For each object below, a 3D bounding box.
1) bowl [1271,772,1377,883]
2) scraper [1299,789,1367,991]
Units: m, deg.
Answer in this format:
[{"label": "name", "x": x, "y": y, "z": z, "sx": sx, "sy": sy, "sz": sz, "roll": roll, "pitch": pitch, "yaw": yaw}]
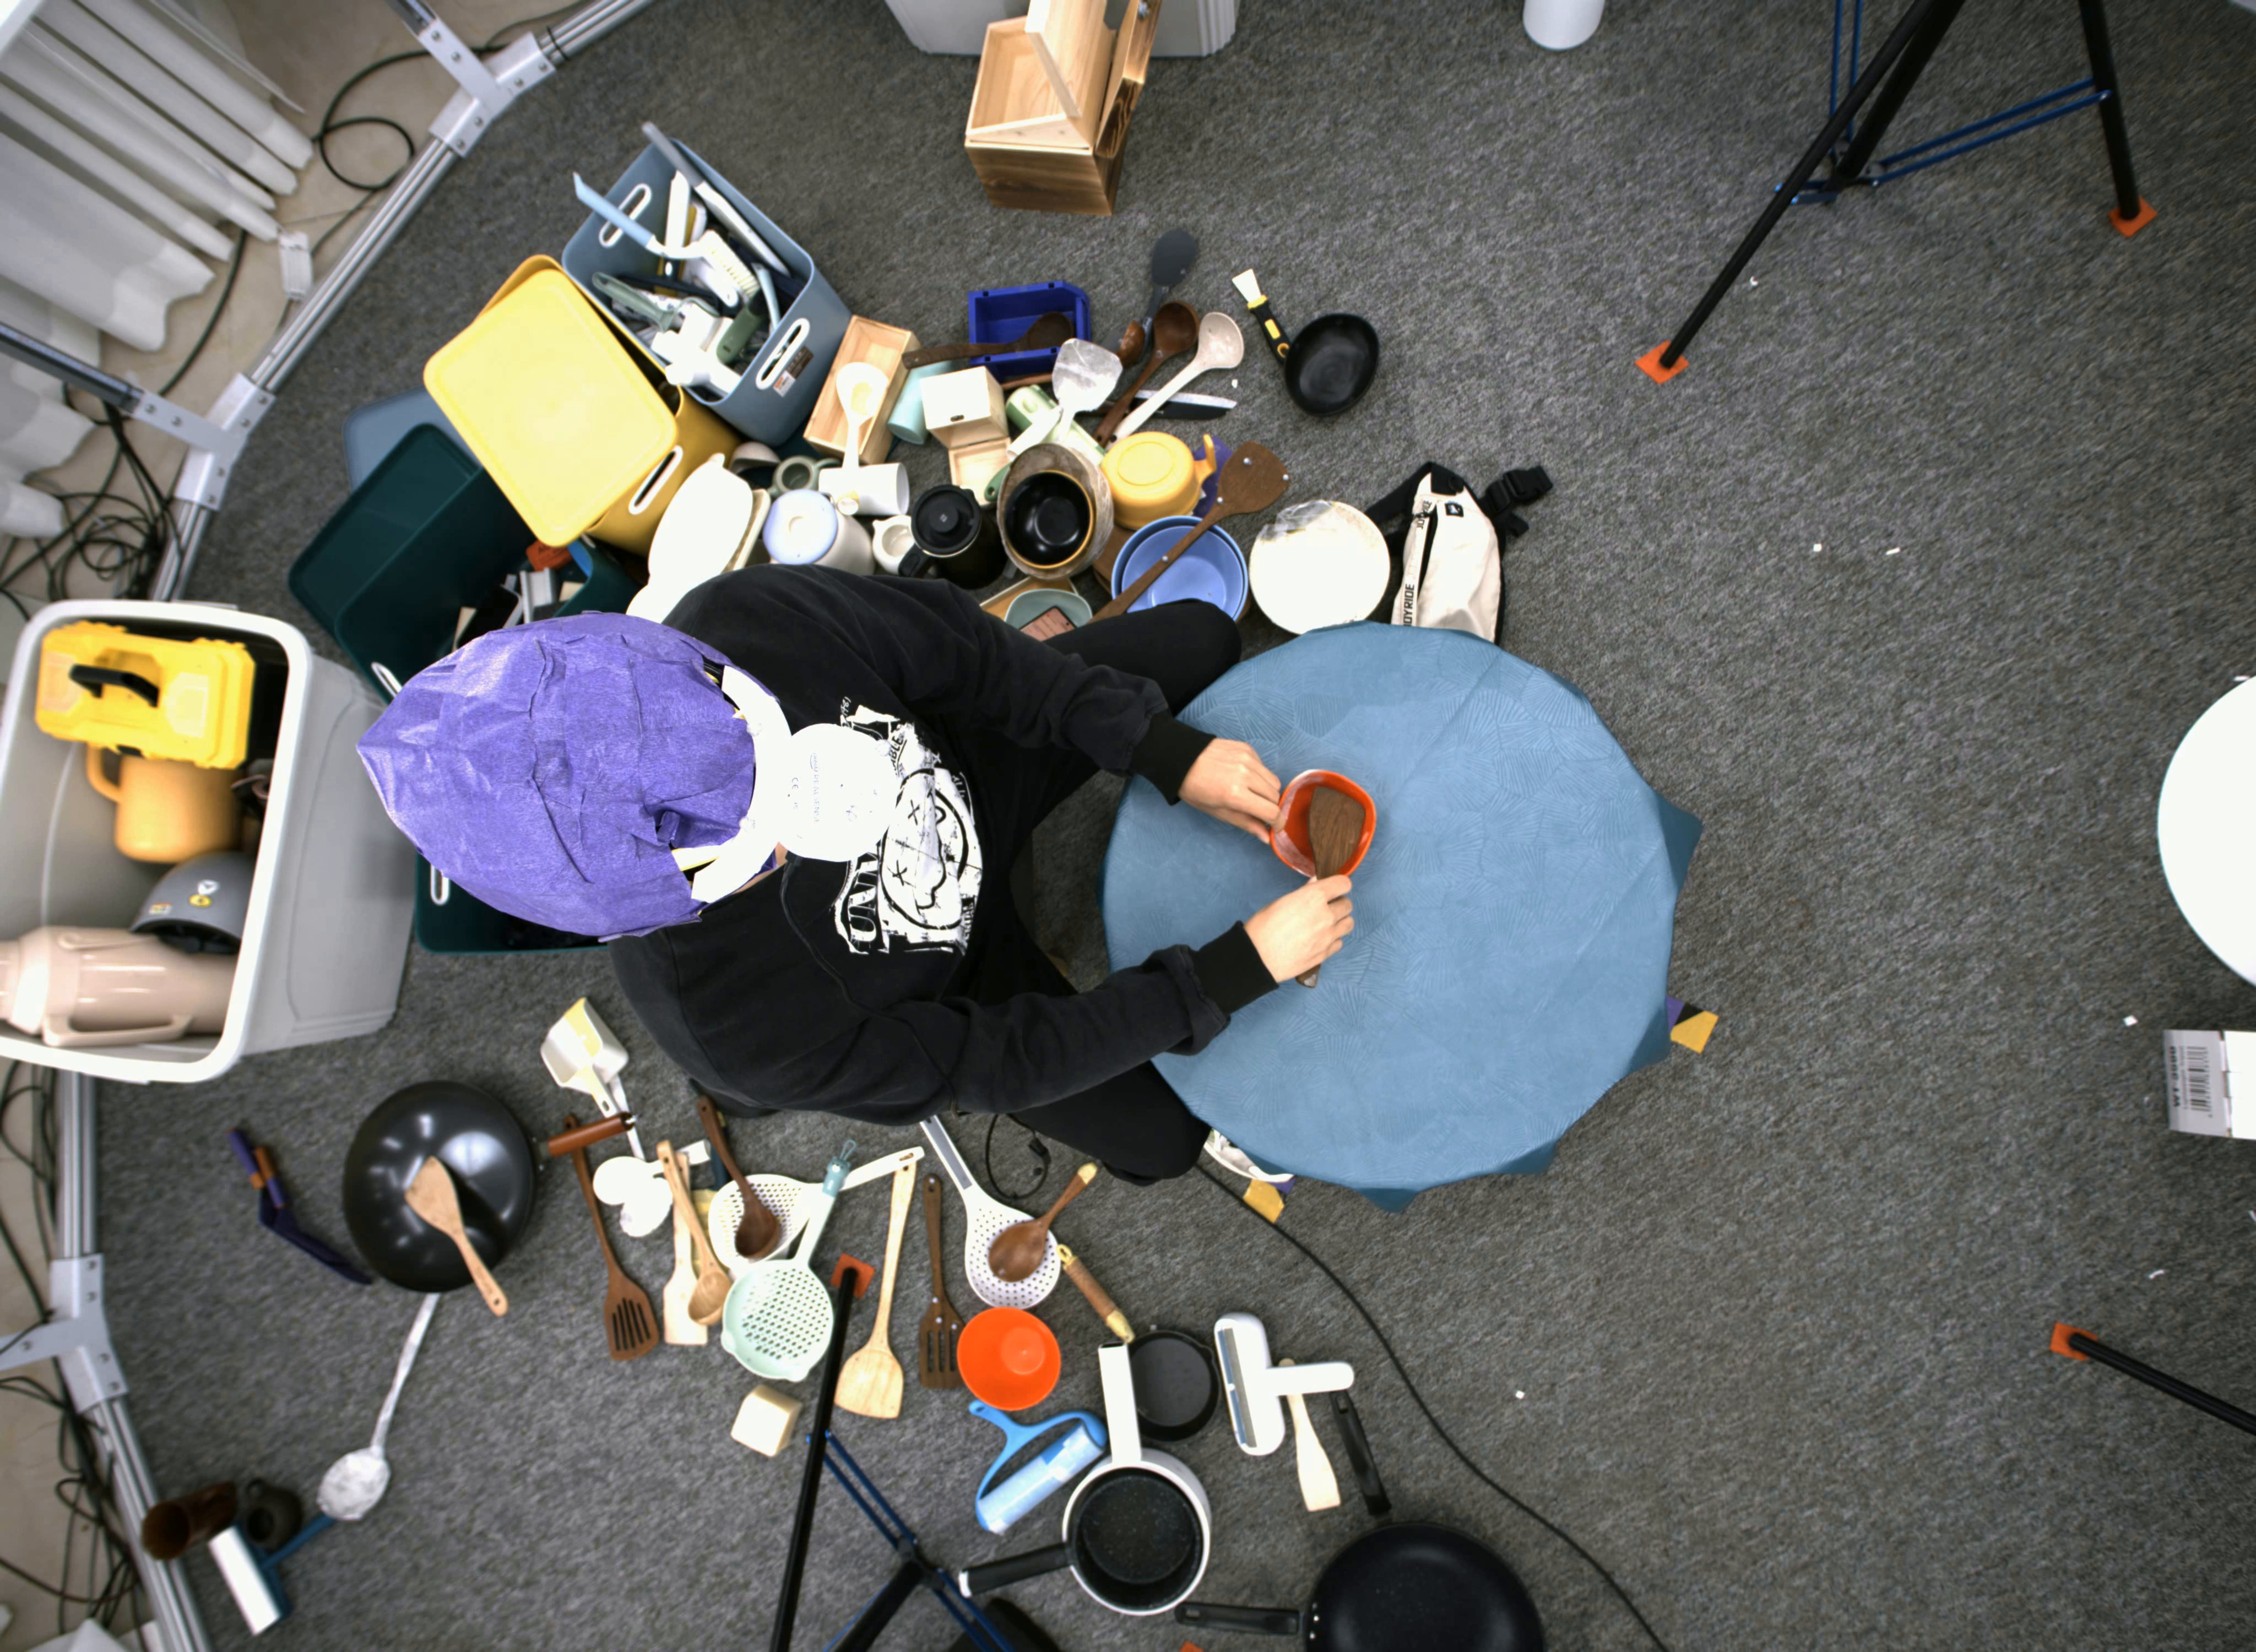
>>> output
[{"label": "bowl", "x": 0.197, "y": 0.000, "z": 1.445, "sx": 0.118, "sy": 0.051, "sz": 0.119, "roll": -1, "pitch": 95, "yaw": -15}, {"label": "scraper", "x": 0.200, "y": 0.065, "z": 1.401, "sx": 0.076, "sy": 0.011, "sz": 0.207, "roll": 25, "pitch": 67, "yaw": -29}]
